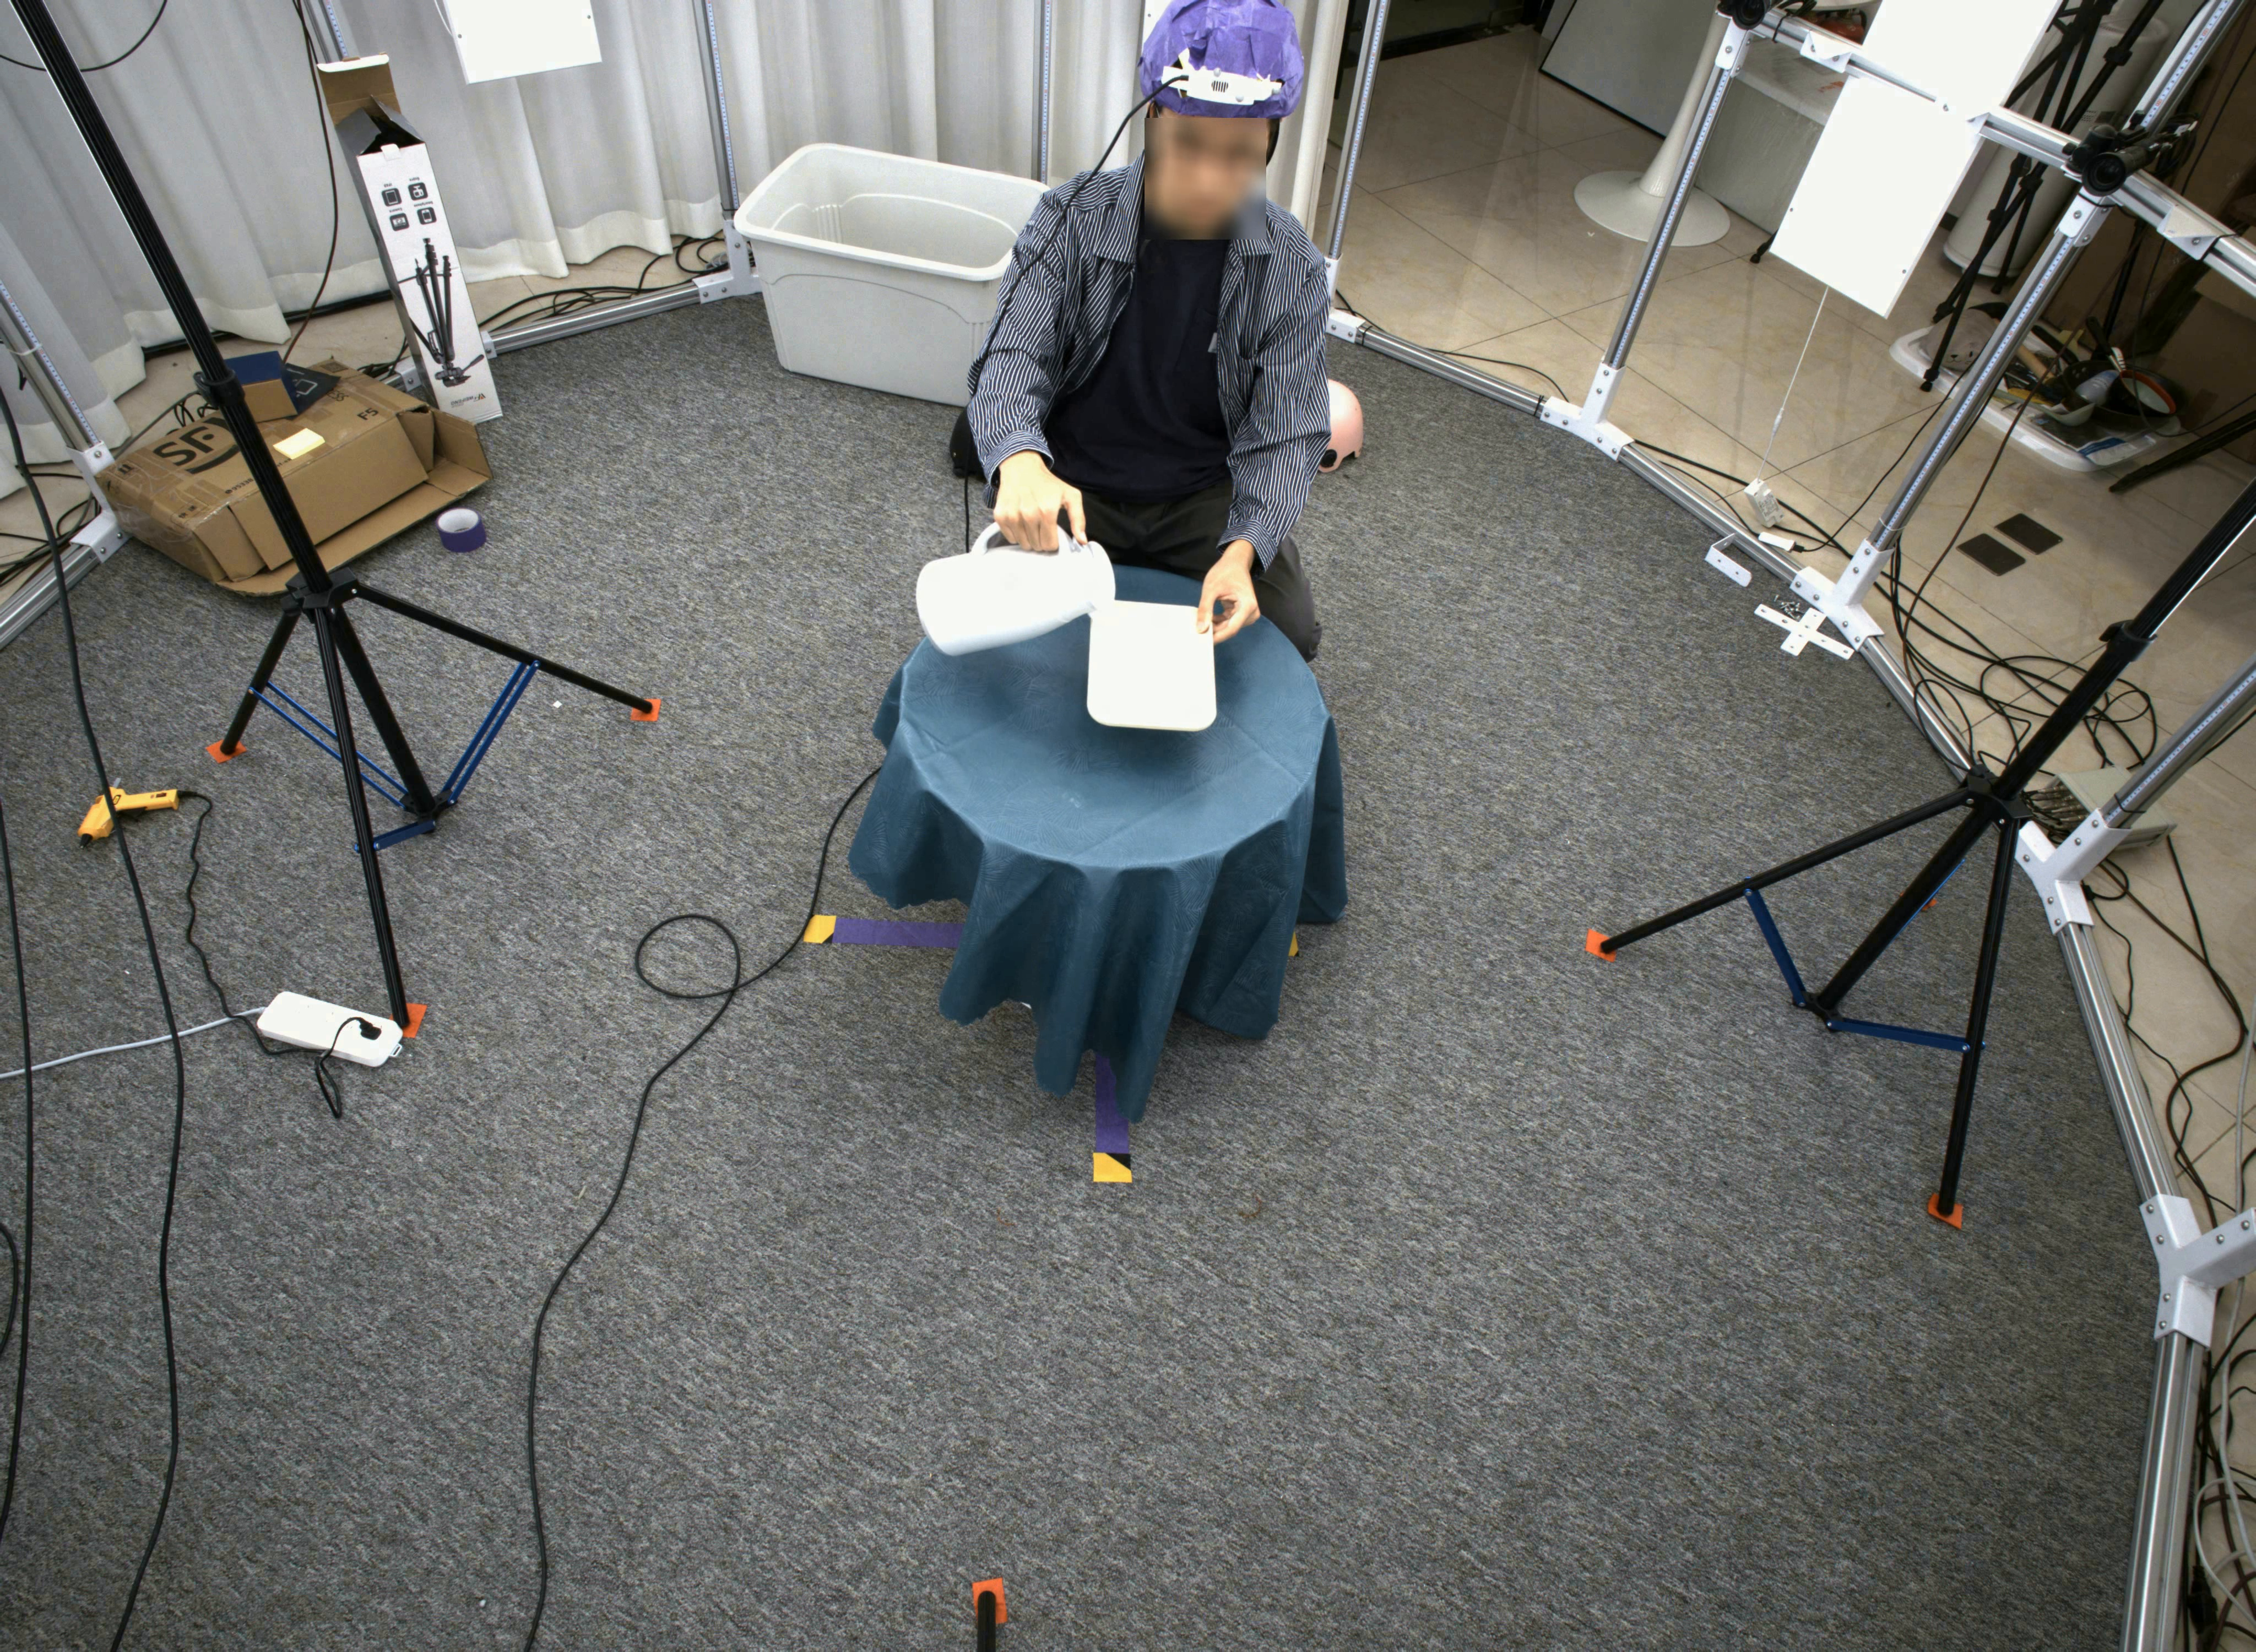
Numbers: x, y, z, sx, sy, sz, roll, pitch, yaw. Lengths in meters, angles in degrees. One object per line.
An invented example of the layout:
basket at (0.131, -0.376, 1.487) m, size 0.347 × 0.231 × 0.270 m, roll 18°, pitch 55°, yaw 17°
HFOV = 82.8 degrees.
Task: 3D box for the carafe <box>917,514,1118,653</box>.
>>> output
carafe at (-0.144, -0.324, 1.691) m, size 0.249 × 0.164 × 0.135 m, roll -6°, pitch 37°, yaw 25°

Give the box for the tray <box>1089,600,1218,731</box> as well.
tray at (0.032, -0.218, 1.735) m, size 0.171 × 0.017 × 0.246 m, roll 4°, pitch 48°, yaw -4°
